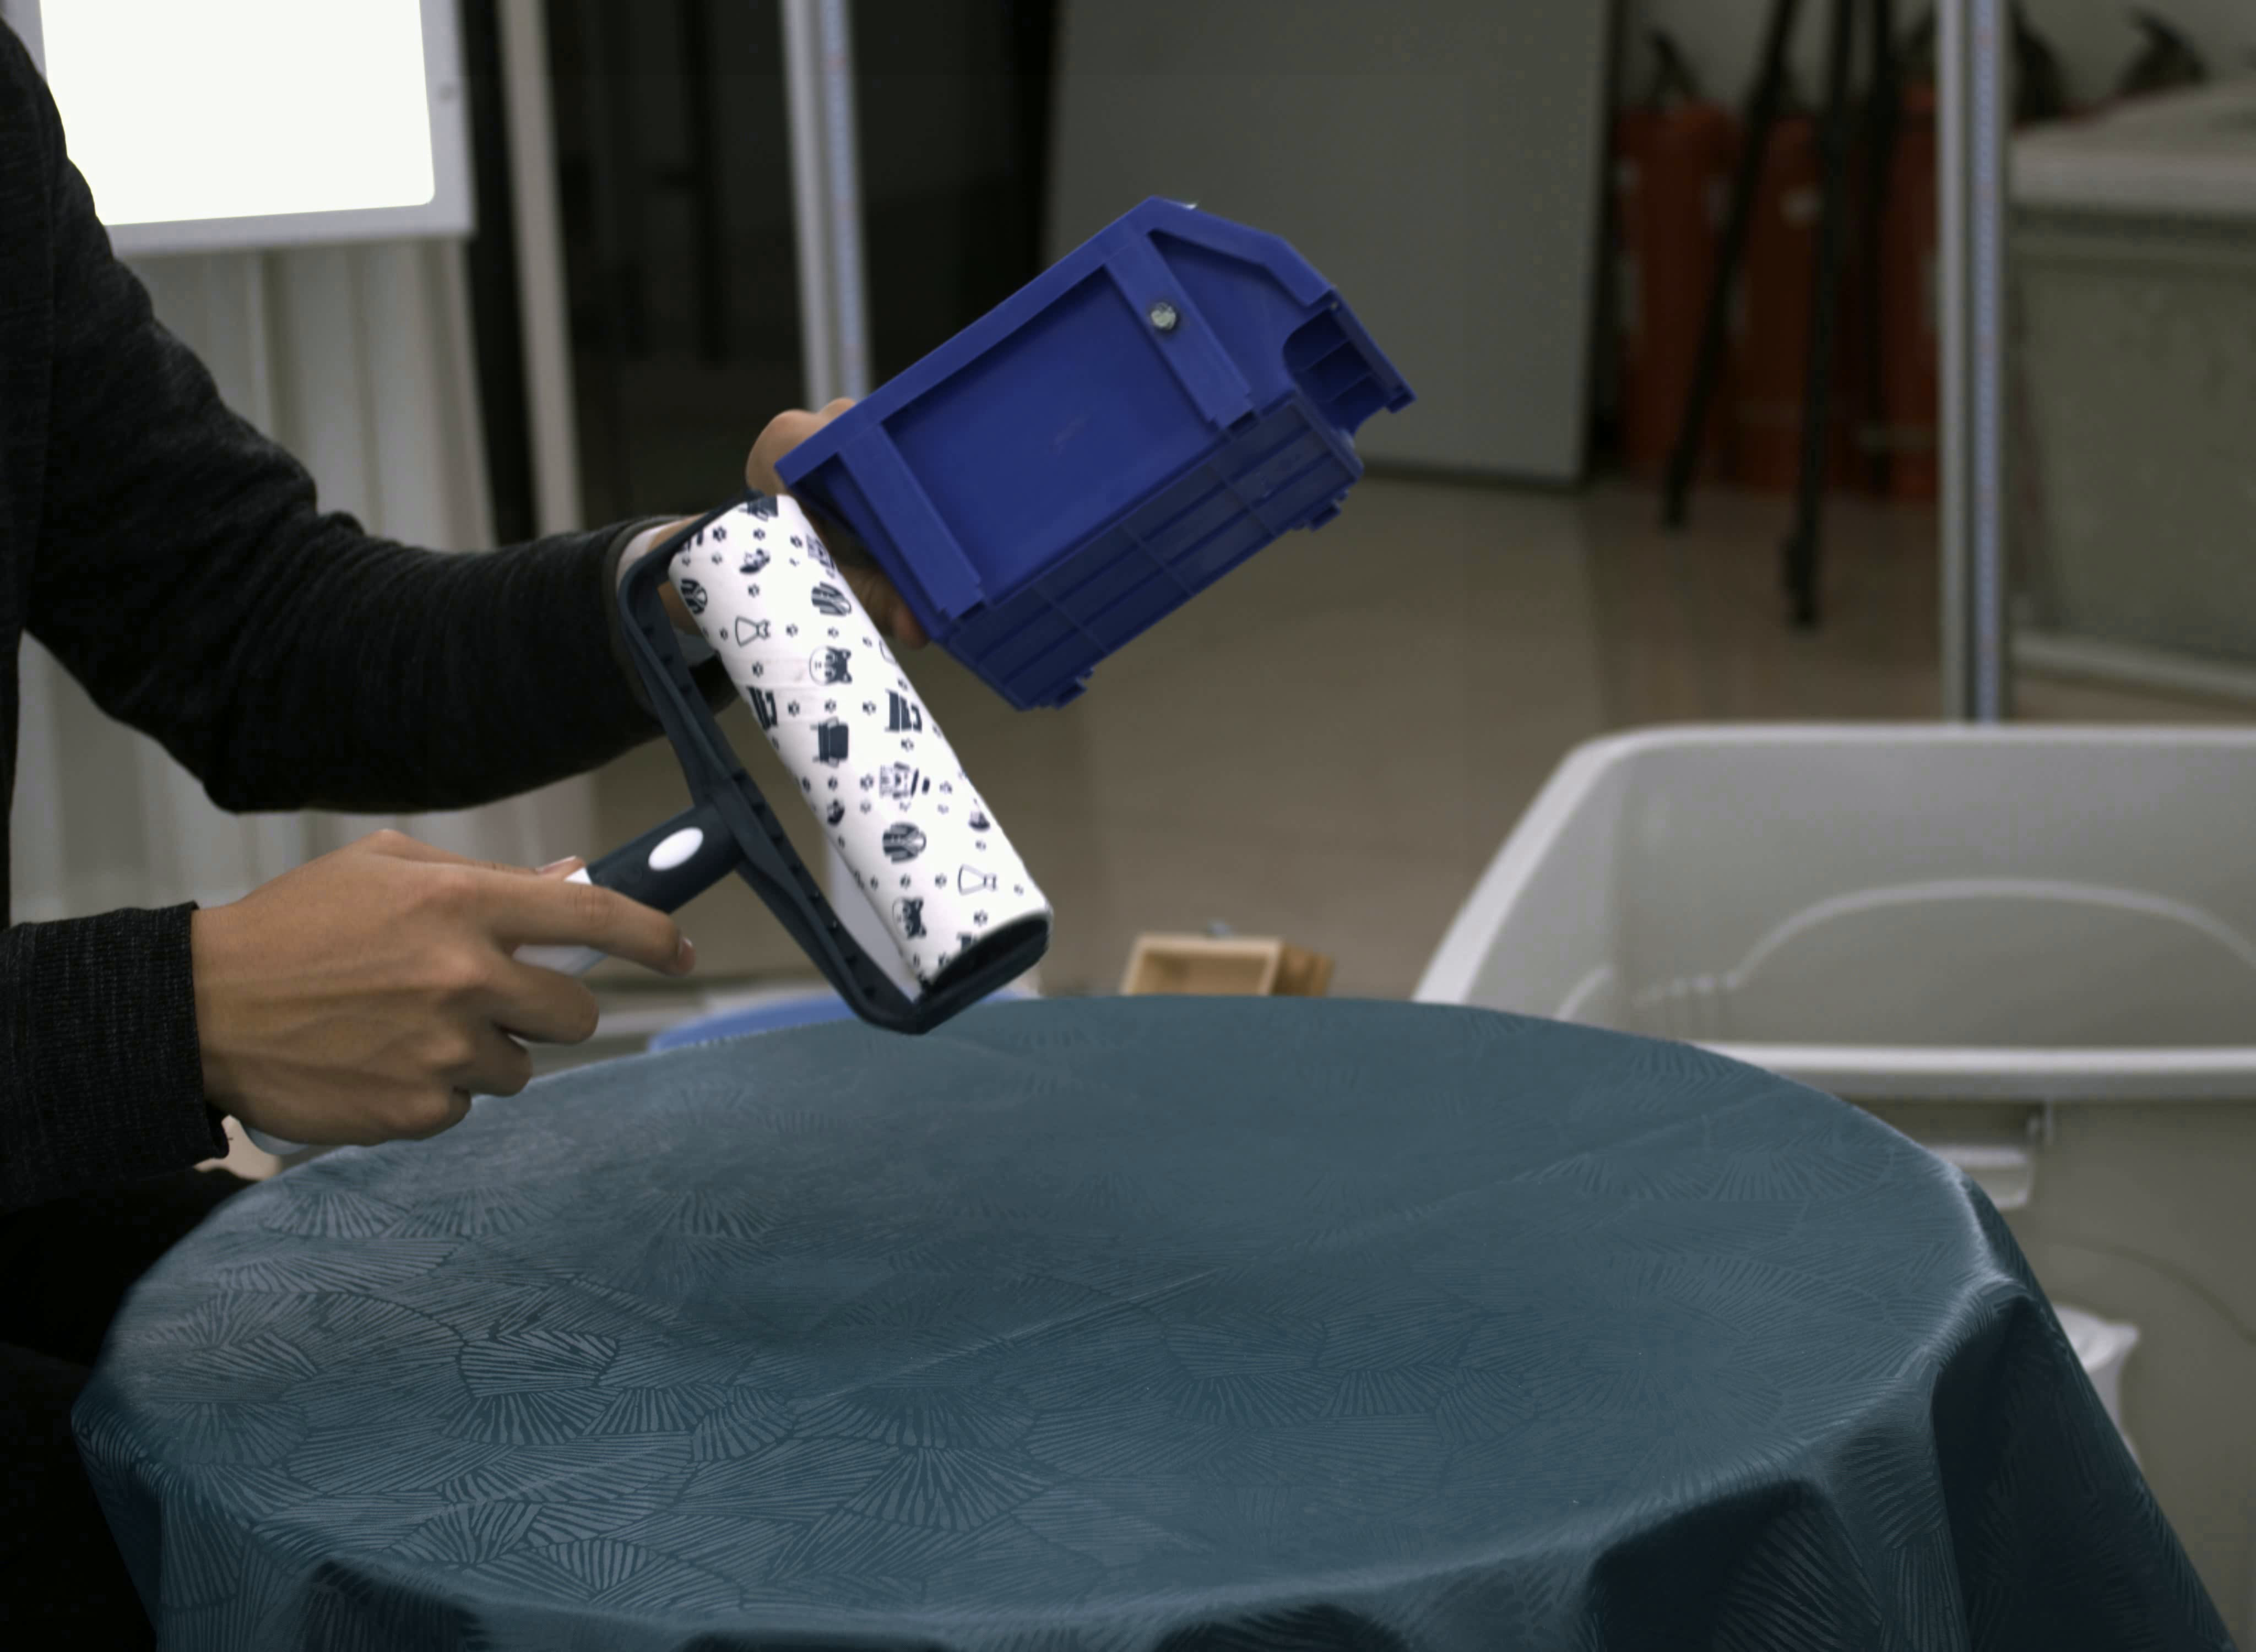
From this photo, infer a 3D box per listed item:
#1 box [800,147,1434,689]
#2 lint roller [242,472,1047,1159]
[{"bbox_3d":[0.004,-0.132,1.742,0.179,0.083,0.123,-39,-22,6],"label":"box"},{"bbox_3d":[-0.166,0.026,1.657,0.245,0.178,0.050,-34,-16,-2],"label":"lint roller"}]
